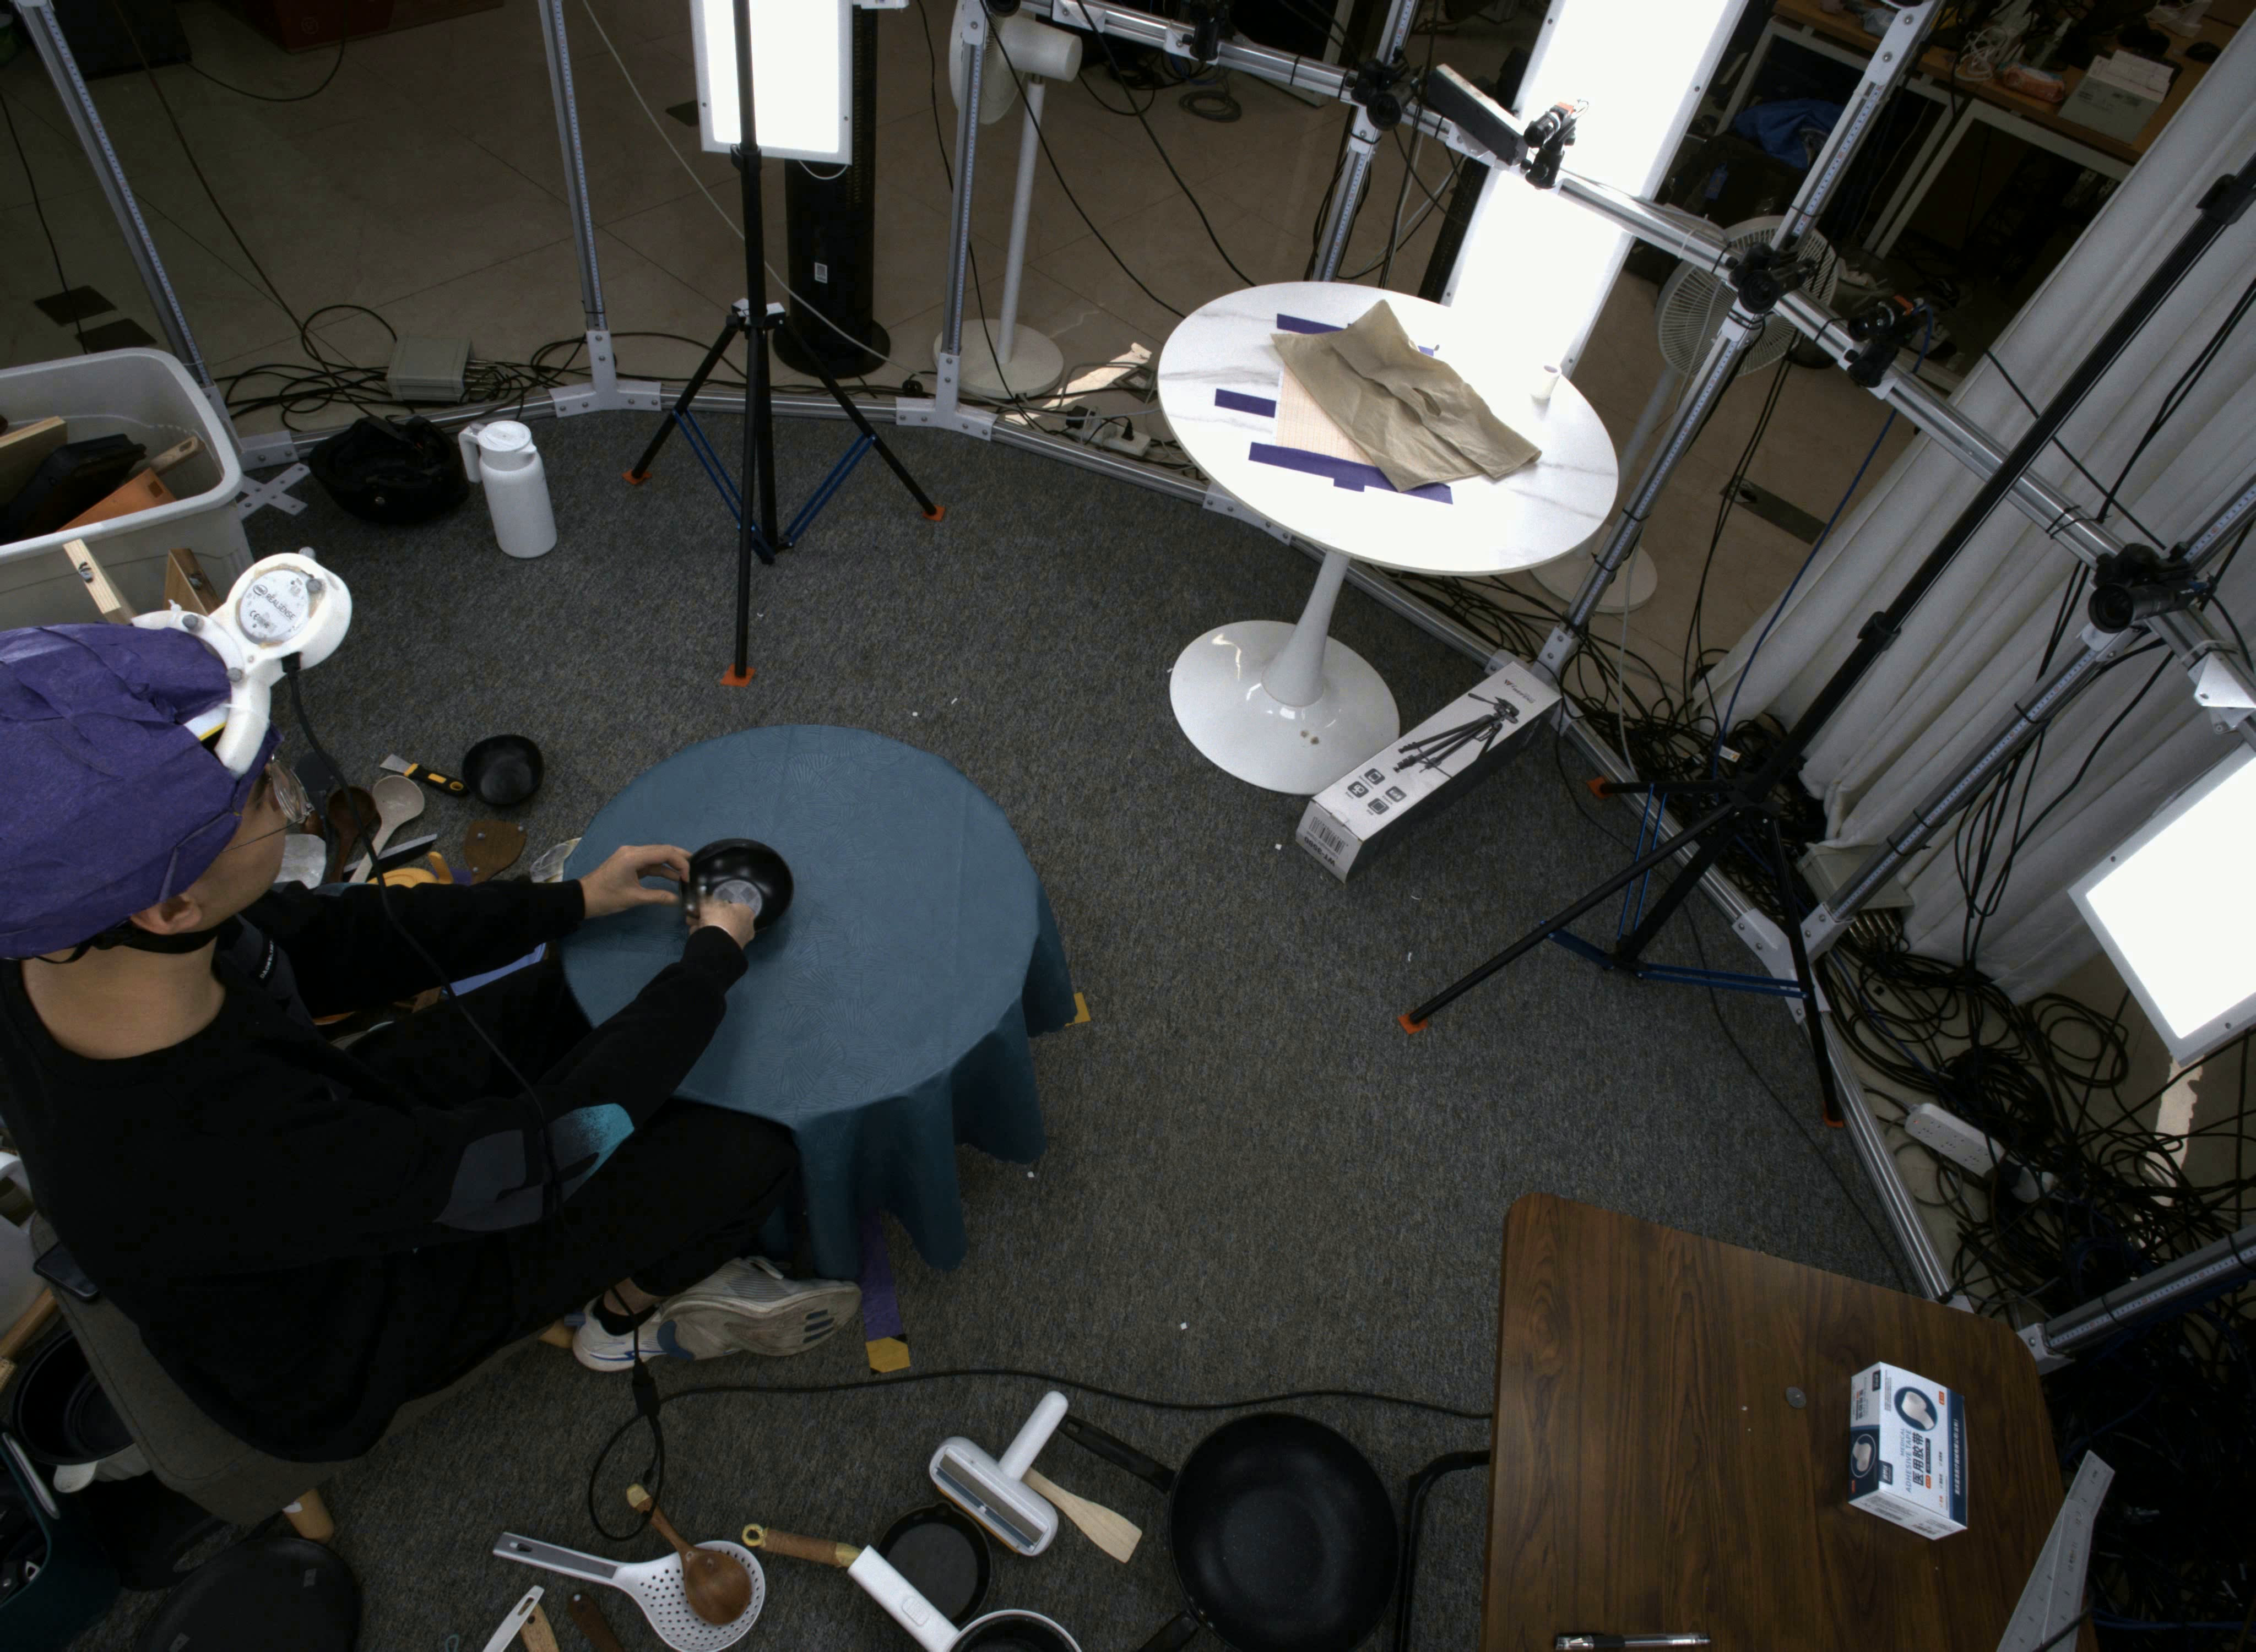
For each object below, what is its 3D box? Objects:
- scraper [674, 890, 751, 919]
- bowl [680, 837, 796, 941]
[{"bbox_3d":[-0.497,0.093,1.517,0.076,0.210,0.011,24,86,-4],"label":"scraper"},{"bbox_3d":[-0.486,0.084,1.610,0.141,0.050,0.138,12,56,-16],"label":"bowl"}]
